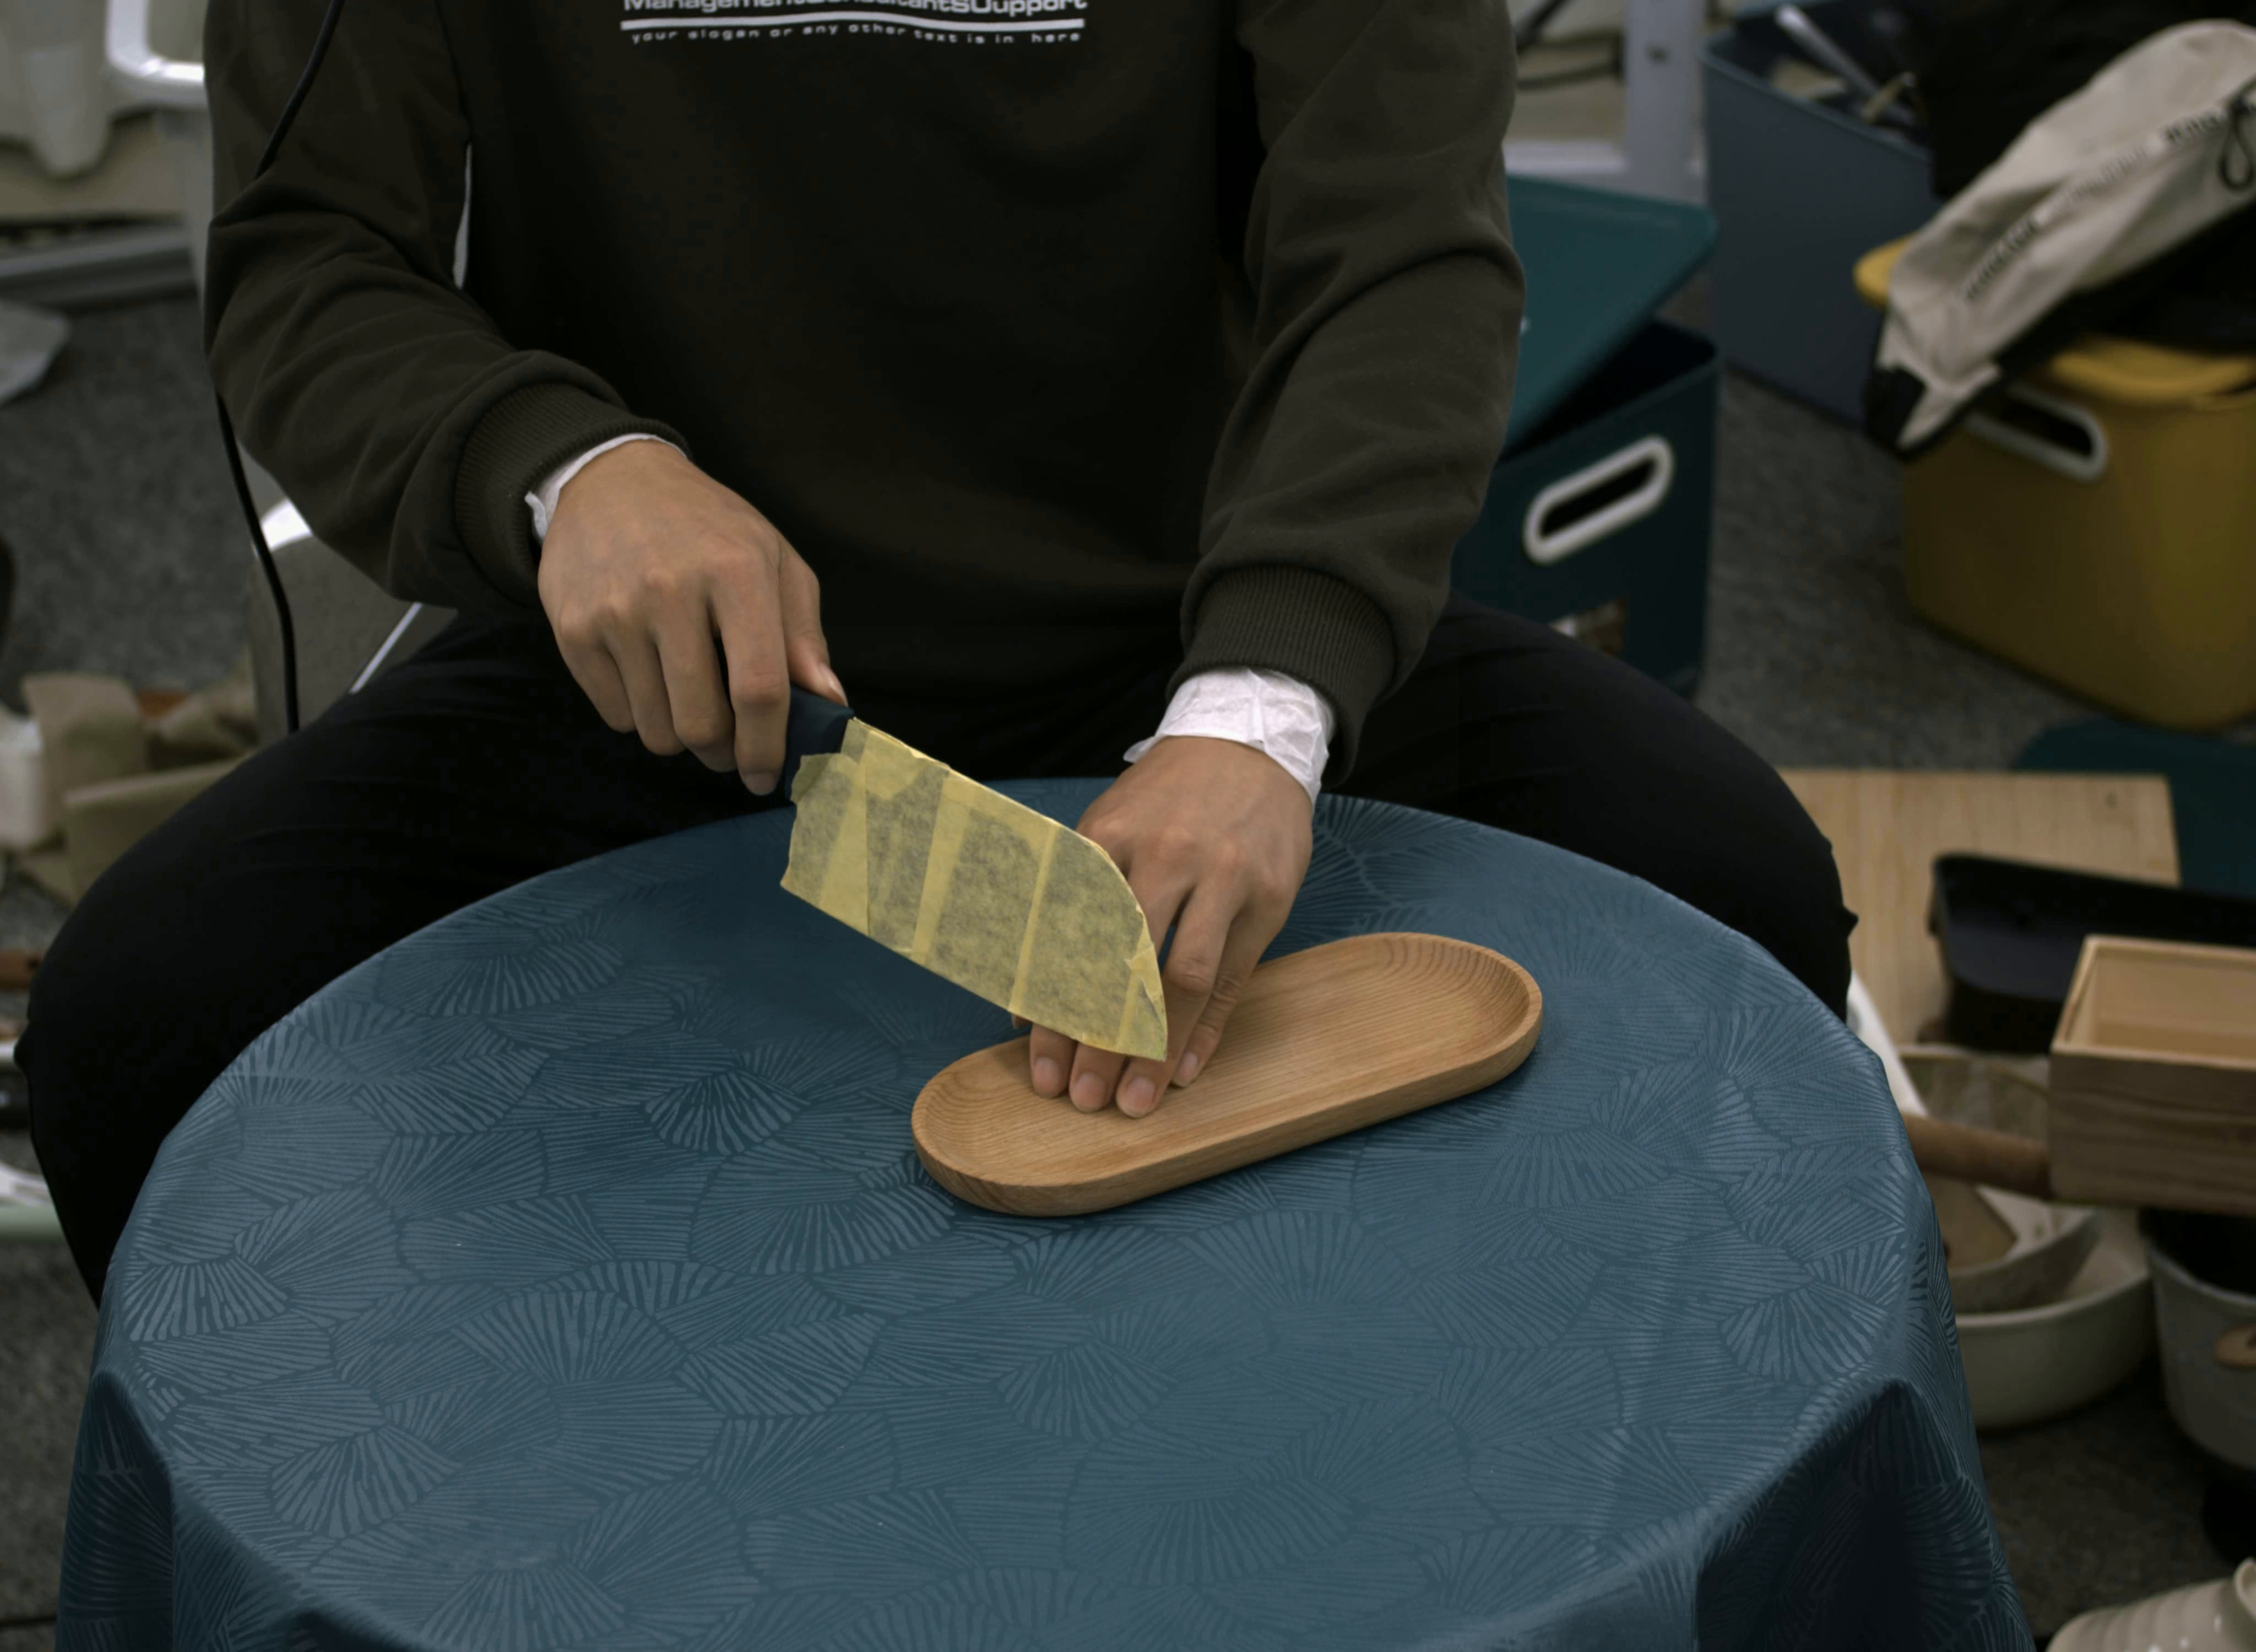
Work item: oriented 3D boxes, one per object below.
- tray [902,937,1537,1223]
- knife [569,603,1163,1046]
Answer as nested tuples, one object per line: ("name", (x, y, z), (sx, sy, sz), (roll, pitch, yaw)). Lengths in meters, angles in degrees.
("tray", (0.032, 0.086, 1.910), (0.232, 0.020, 0.102), (-18, 29, -23))
("knife", (-0.093, -0.003, 1.938), (0.290, 0.080, 0.027), (31, 24, 33))
